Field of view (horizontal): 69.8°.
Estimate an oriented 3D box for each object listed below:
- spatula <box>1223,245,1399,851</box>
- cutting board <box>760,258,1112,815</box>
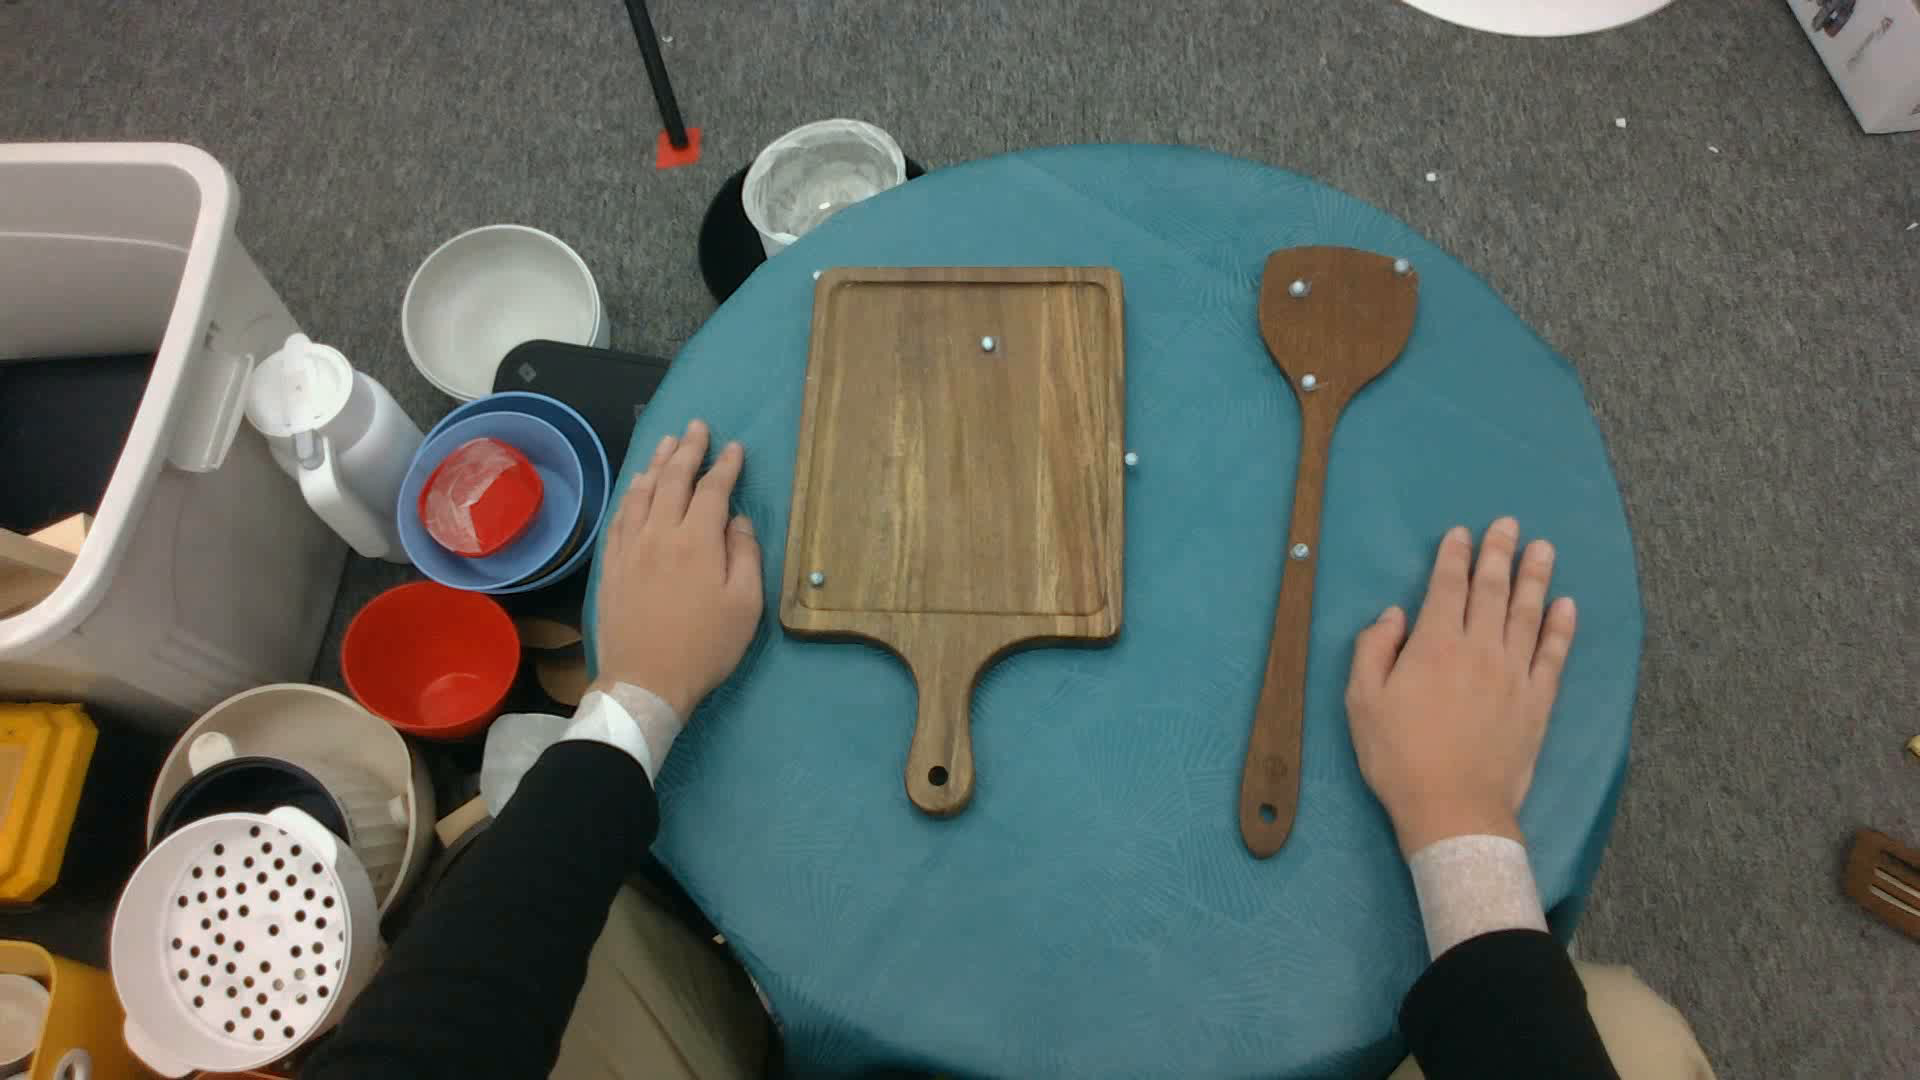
[{"bbox_3d":[0.190,-0.012,0.794,0.096,0.016,0.387,10,66,8],"label":"spatula"},{"bbox_3d":[-0.013,-0.016,0.804,0.201,0.023,0.353,0,65,4],"label":"cutting board"}]
